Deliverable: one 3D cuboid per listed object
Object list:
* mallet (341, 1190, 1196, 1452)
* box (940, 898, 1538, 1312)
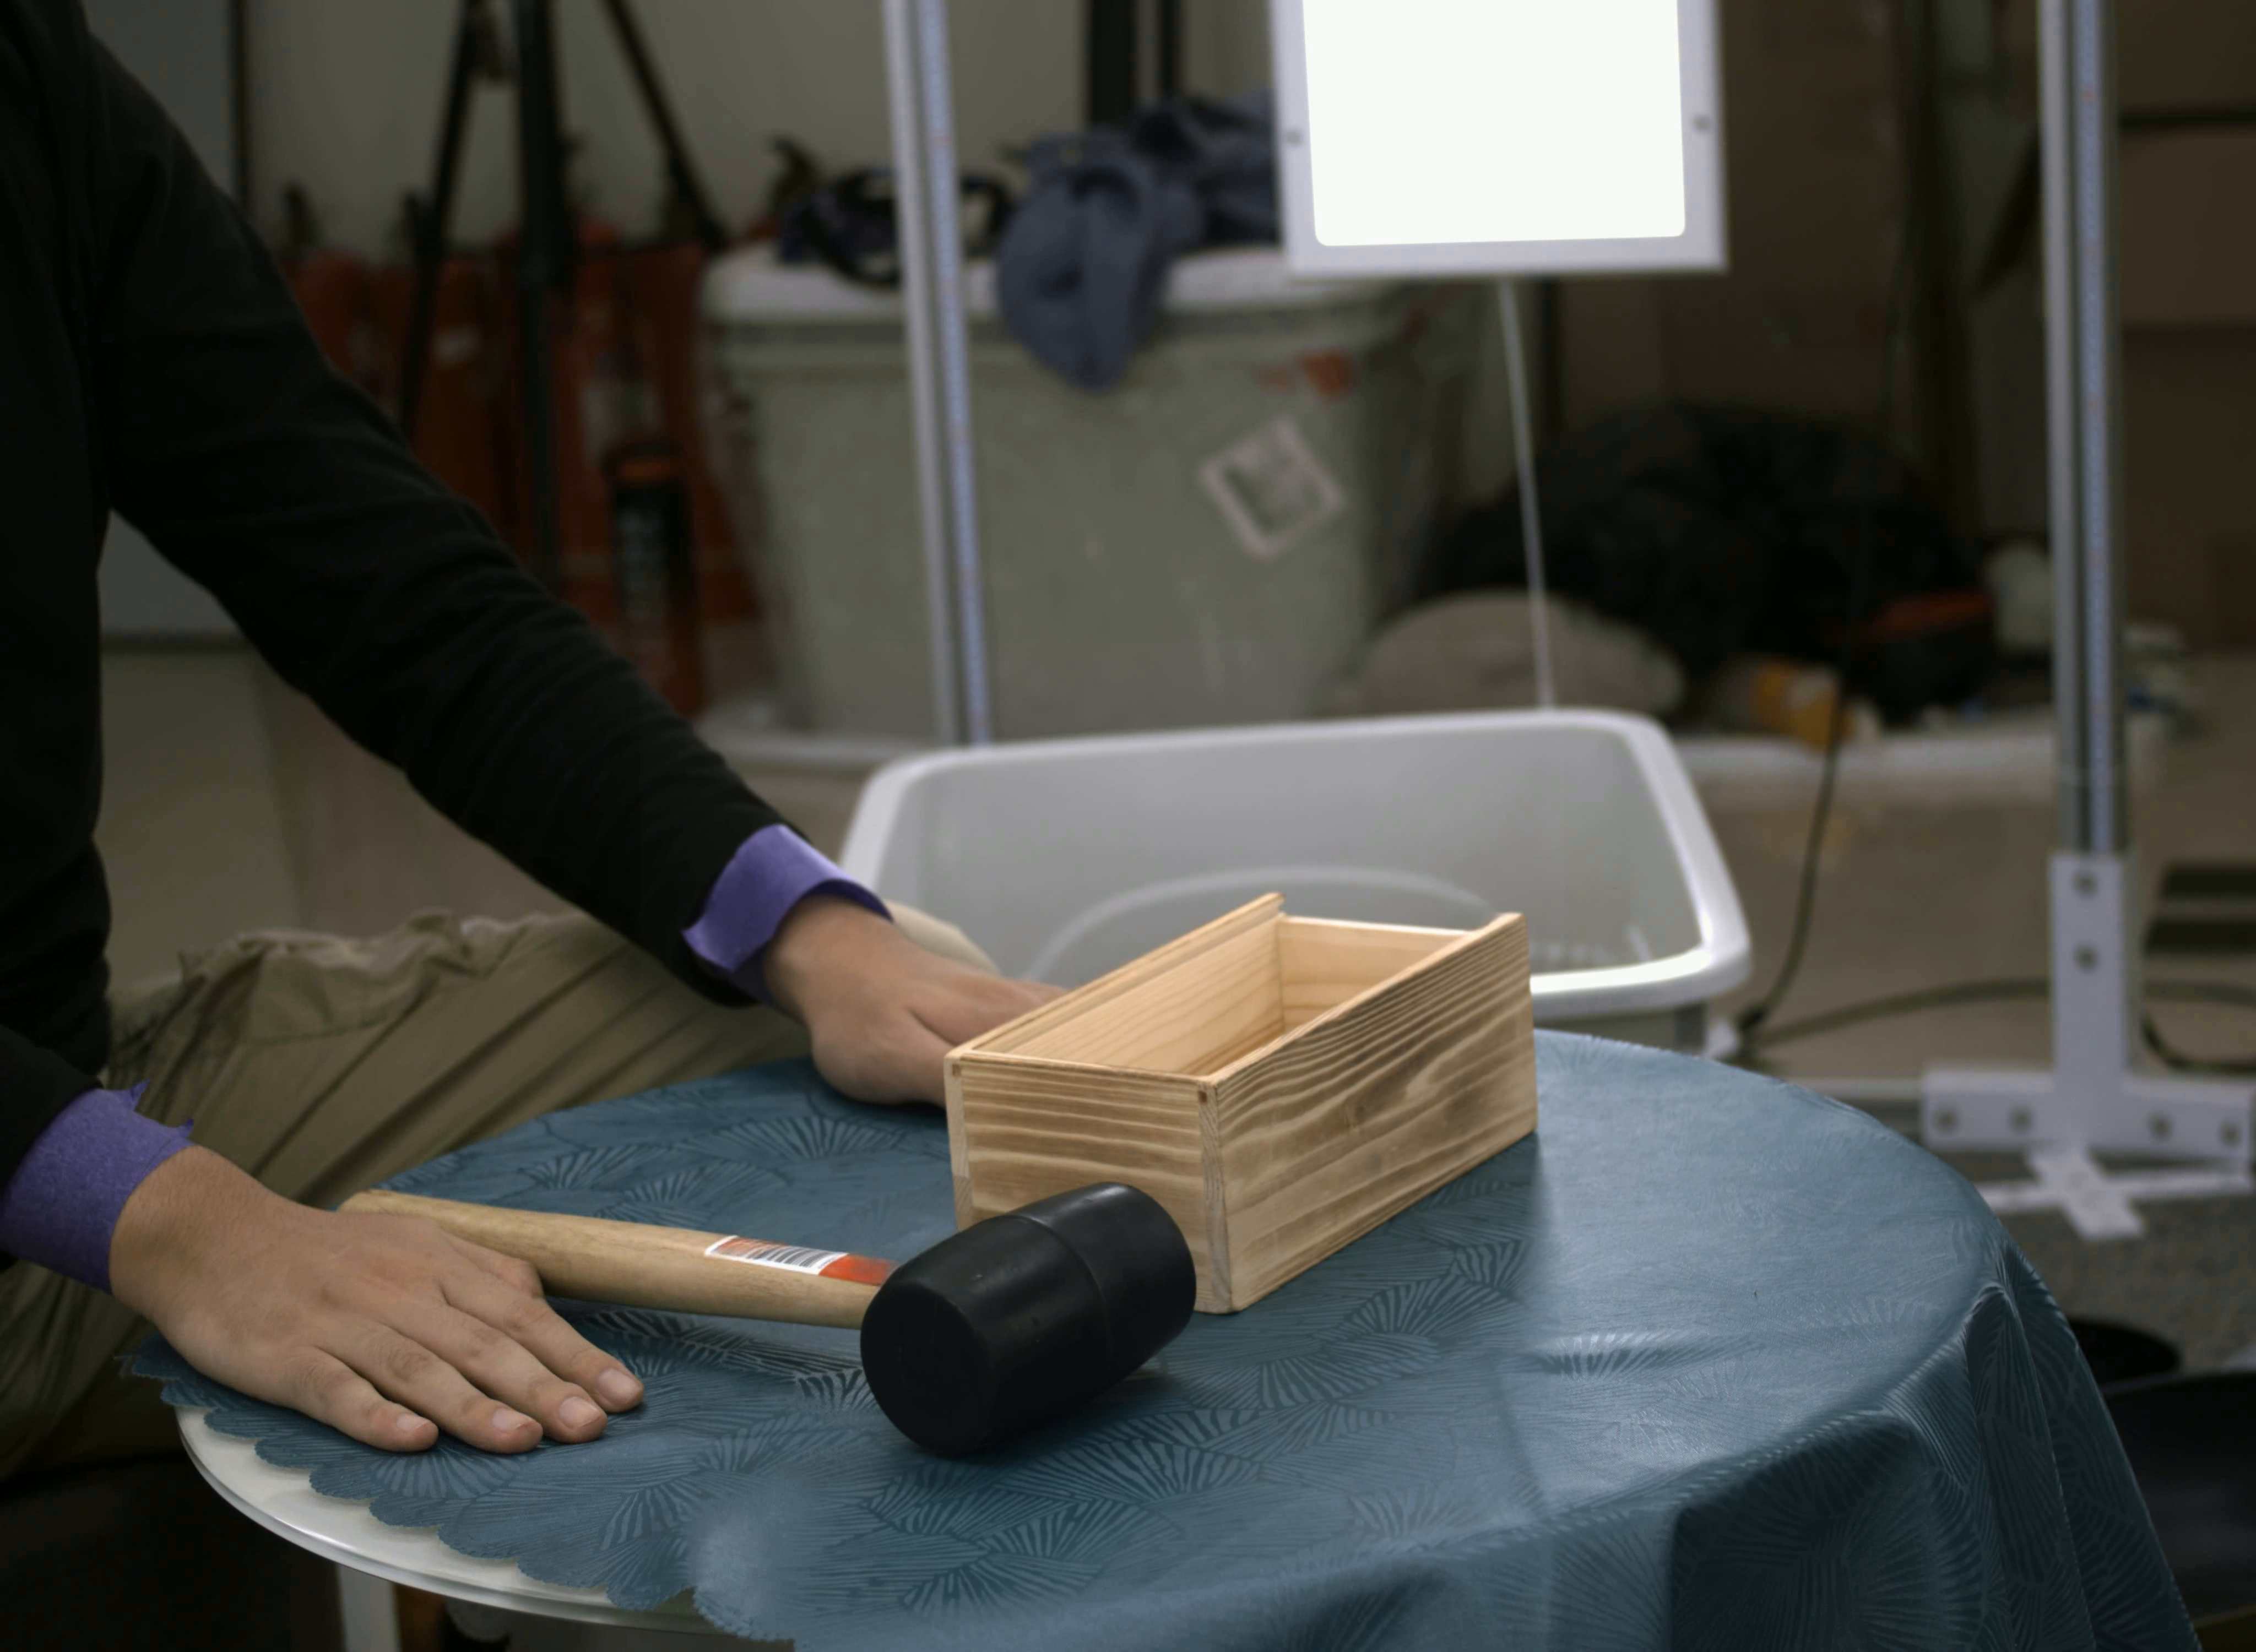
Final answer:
[{"bbox_3d":[-0.134,0.138,1.776,0.346,0.064,0.099,7,17,42],"label":"mallet"},{"bbox_3d":[0.041,0.090,1.863,0.109,0.080,0.206,4,16,33],"label":"box"}]
